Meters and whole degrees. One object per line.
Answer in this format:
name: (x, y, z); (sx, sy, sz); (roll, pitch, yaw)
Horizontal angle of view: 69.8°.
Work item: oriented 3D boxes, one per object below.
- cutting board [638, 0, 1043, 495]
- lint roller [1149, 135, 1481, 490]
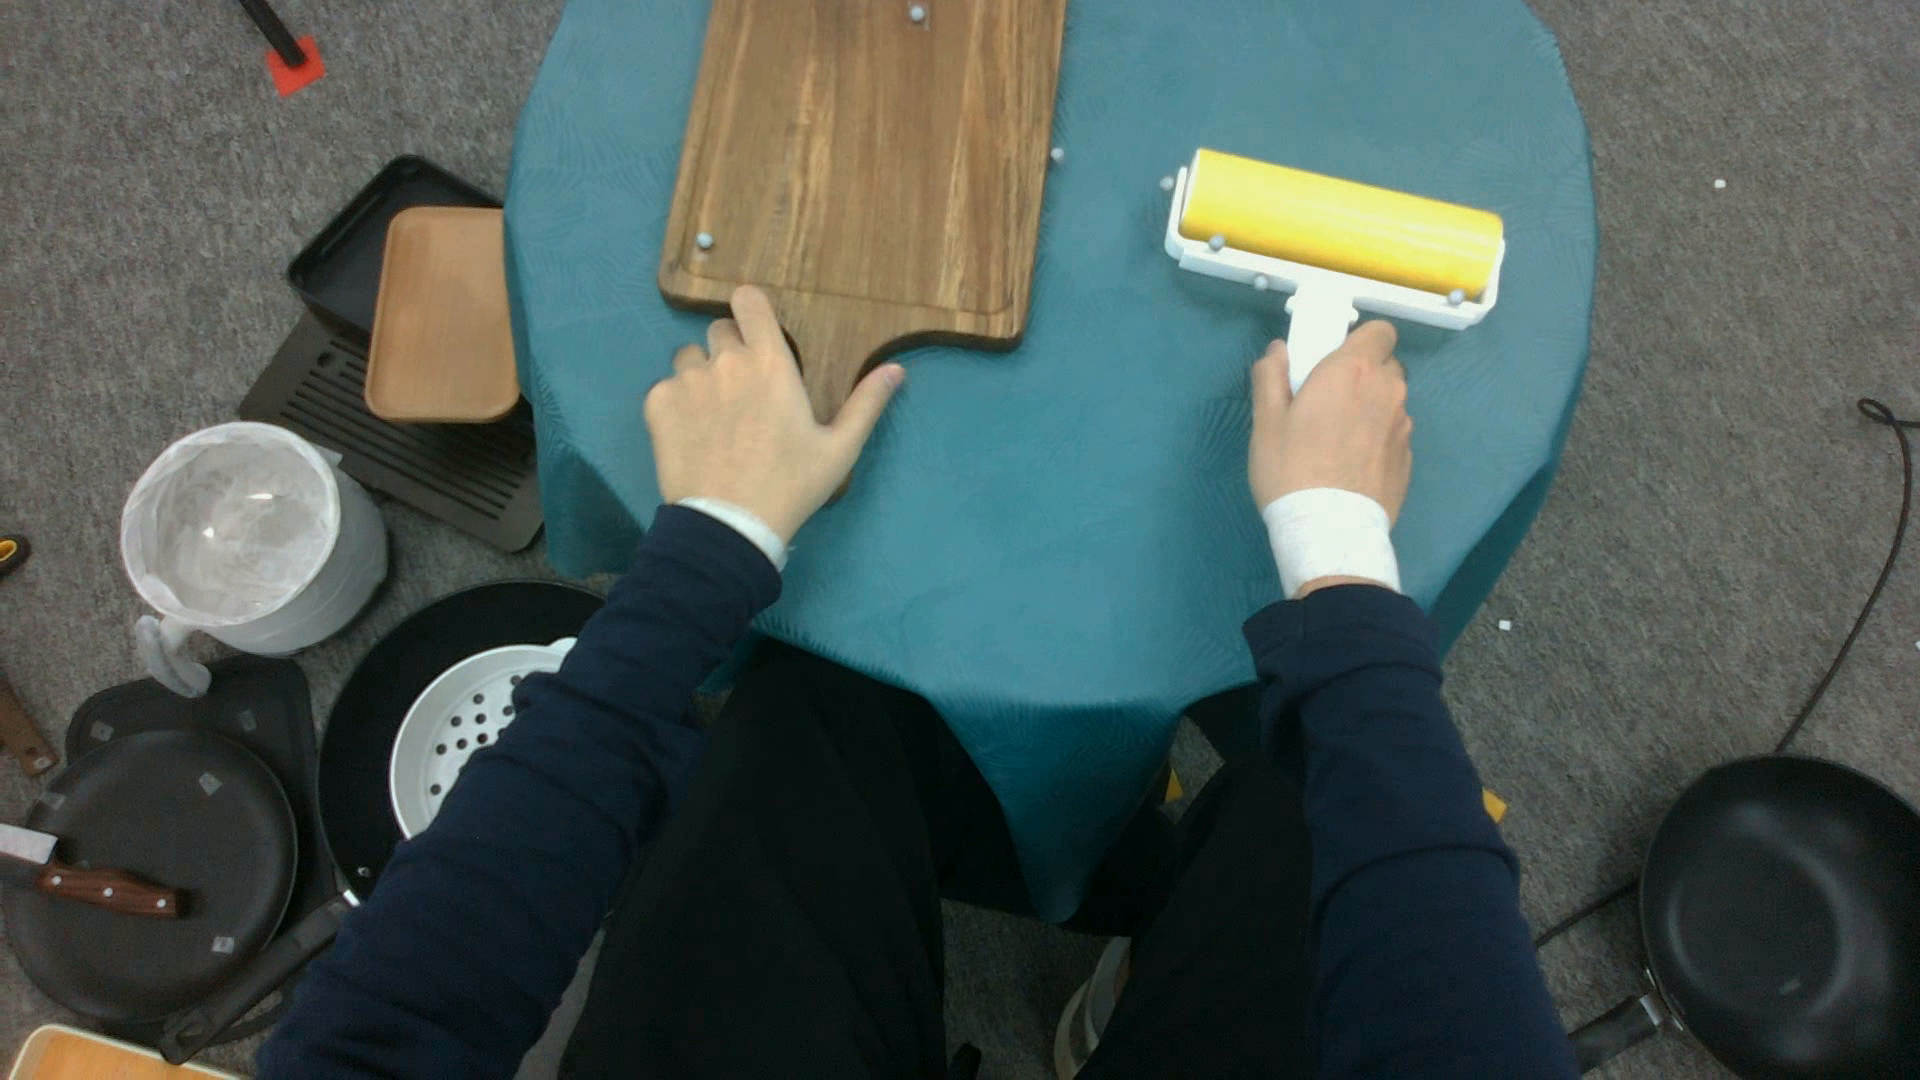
cutting board: (-0.065, -0.194, 0.747); (0.201, 0.023, 0.353); (7, 74, 0)
lint roller: (0.178, -0.116, 0.700); (0.174, 0.051, 0.193); (12, 57, 0)
